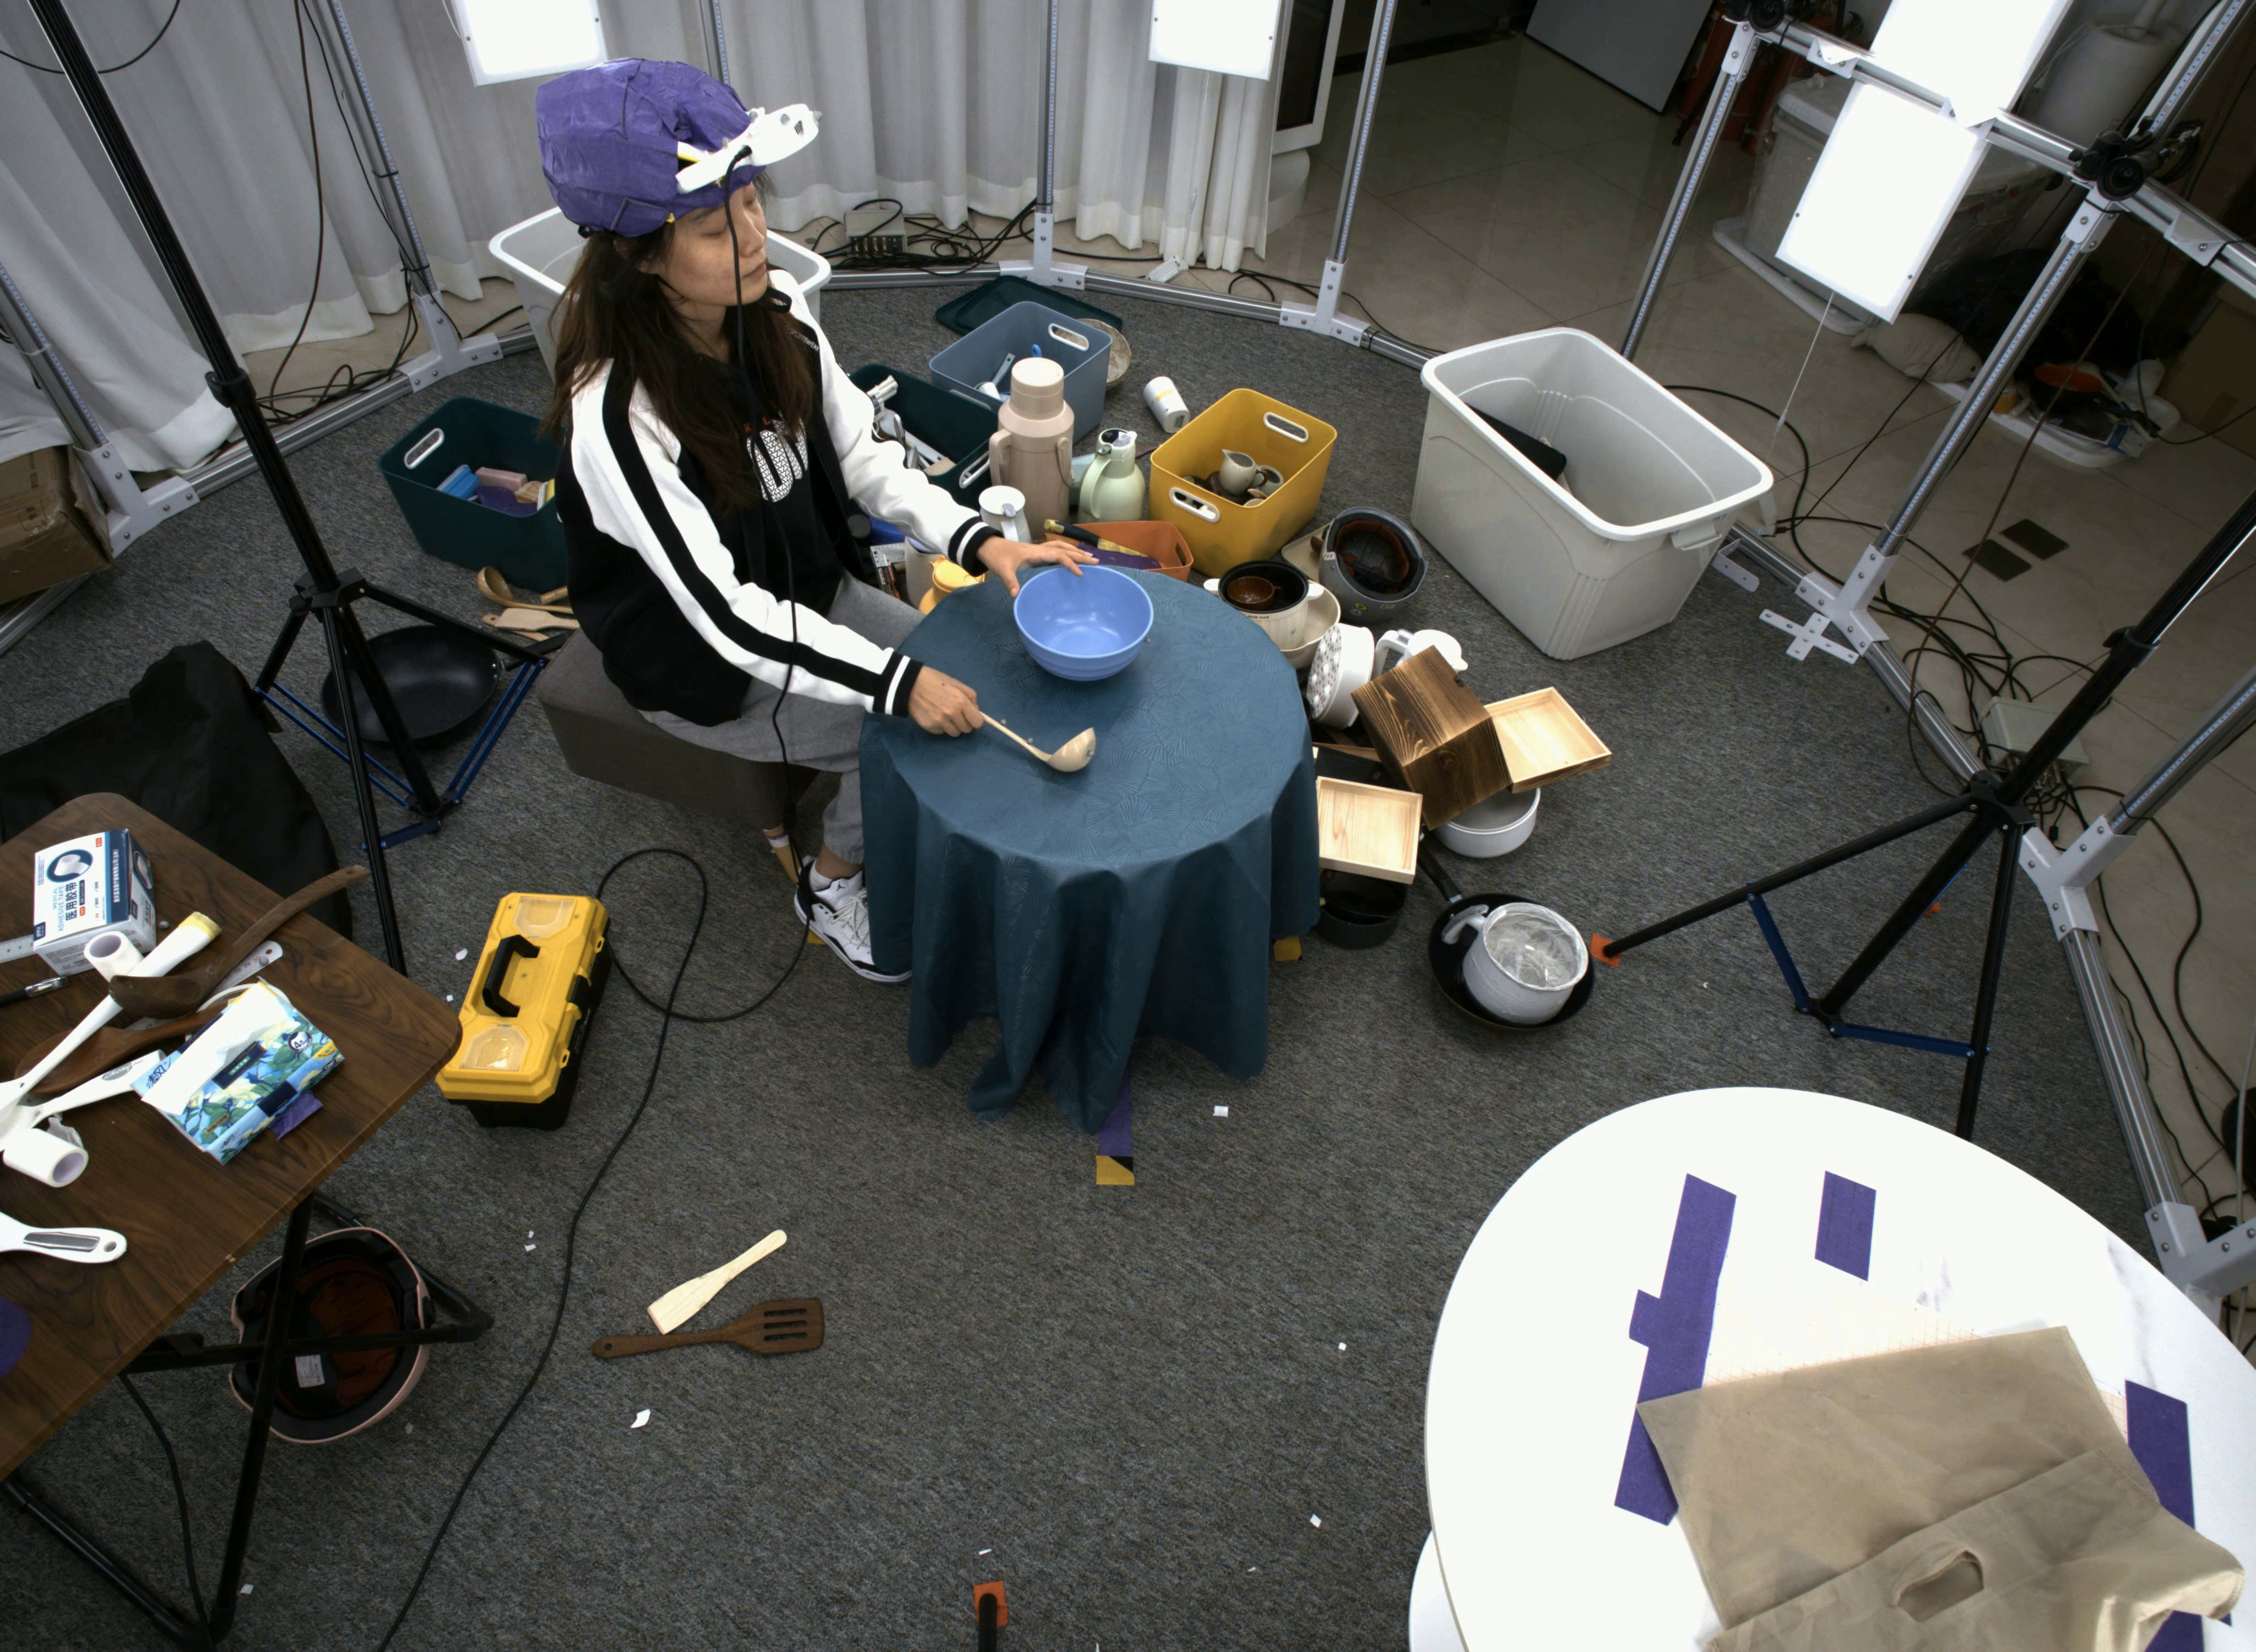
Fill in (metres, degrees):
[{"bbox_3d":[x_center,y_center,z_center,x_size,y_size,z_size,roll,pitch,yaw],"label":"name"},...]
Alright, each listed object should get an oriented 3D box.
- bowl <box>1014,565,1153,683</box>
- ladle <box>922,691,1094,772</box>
[{"bbox_3d":[-0.064,-0.274,1.846,0.196,0.093,0.201,1,50,-2],"label":"bowl"},{"bbox_3d":[-0.162,-0.153,1.735,0.256,0.072,0.072,30,24,14],"label":"ladle"}]
